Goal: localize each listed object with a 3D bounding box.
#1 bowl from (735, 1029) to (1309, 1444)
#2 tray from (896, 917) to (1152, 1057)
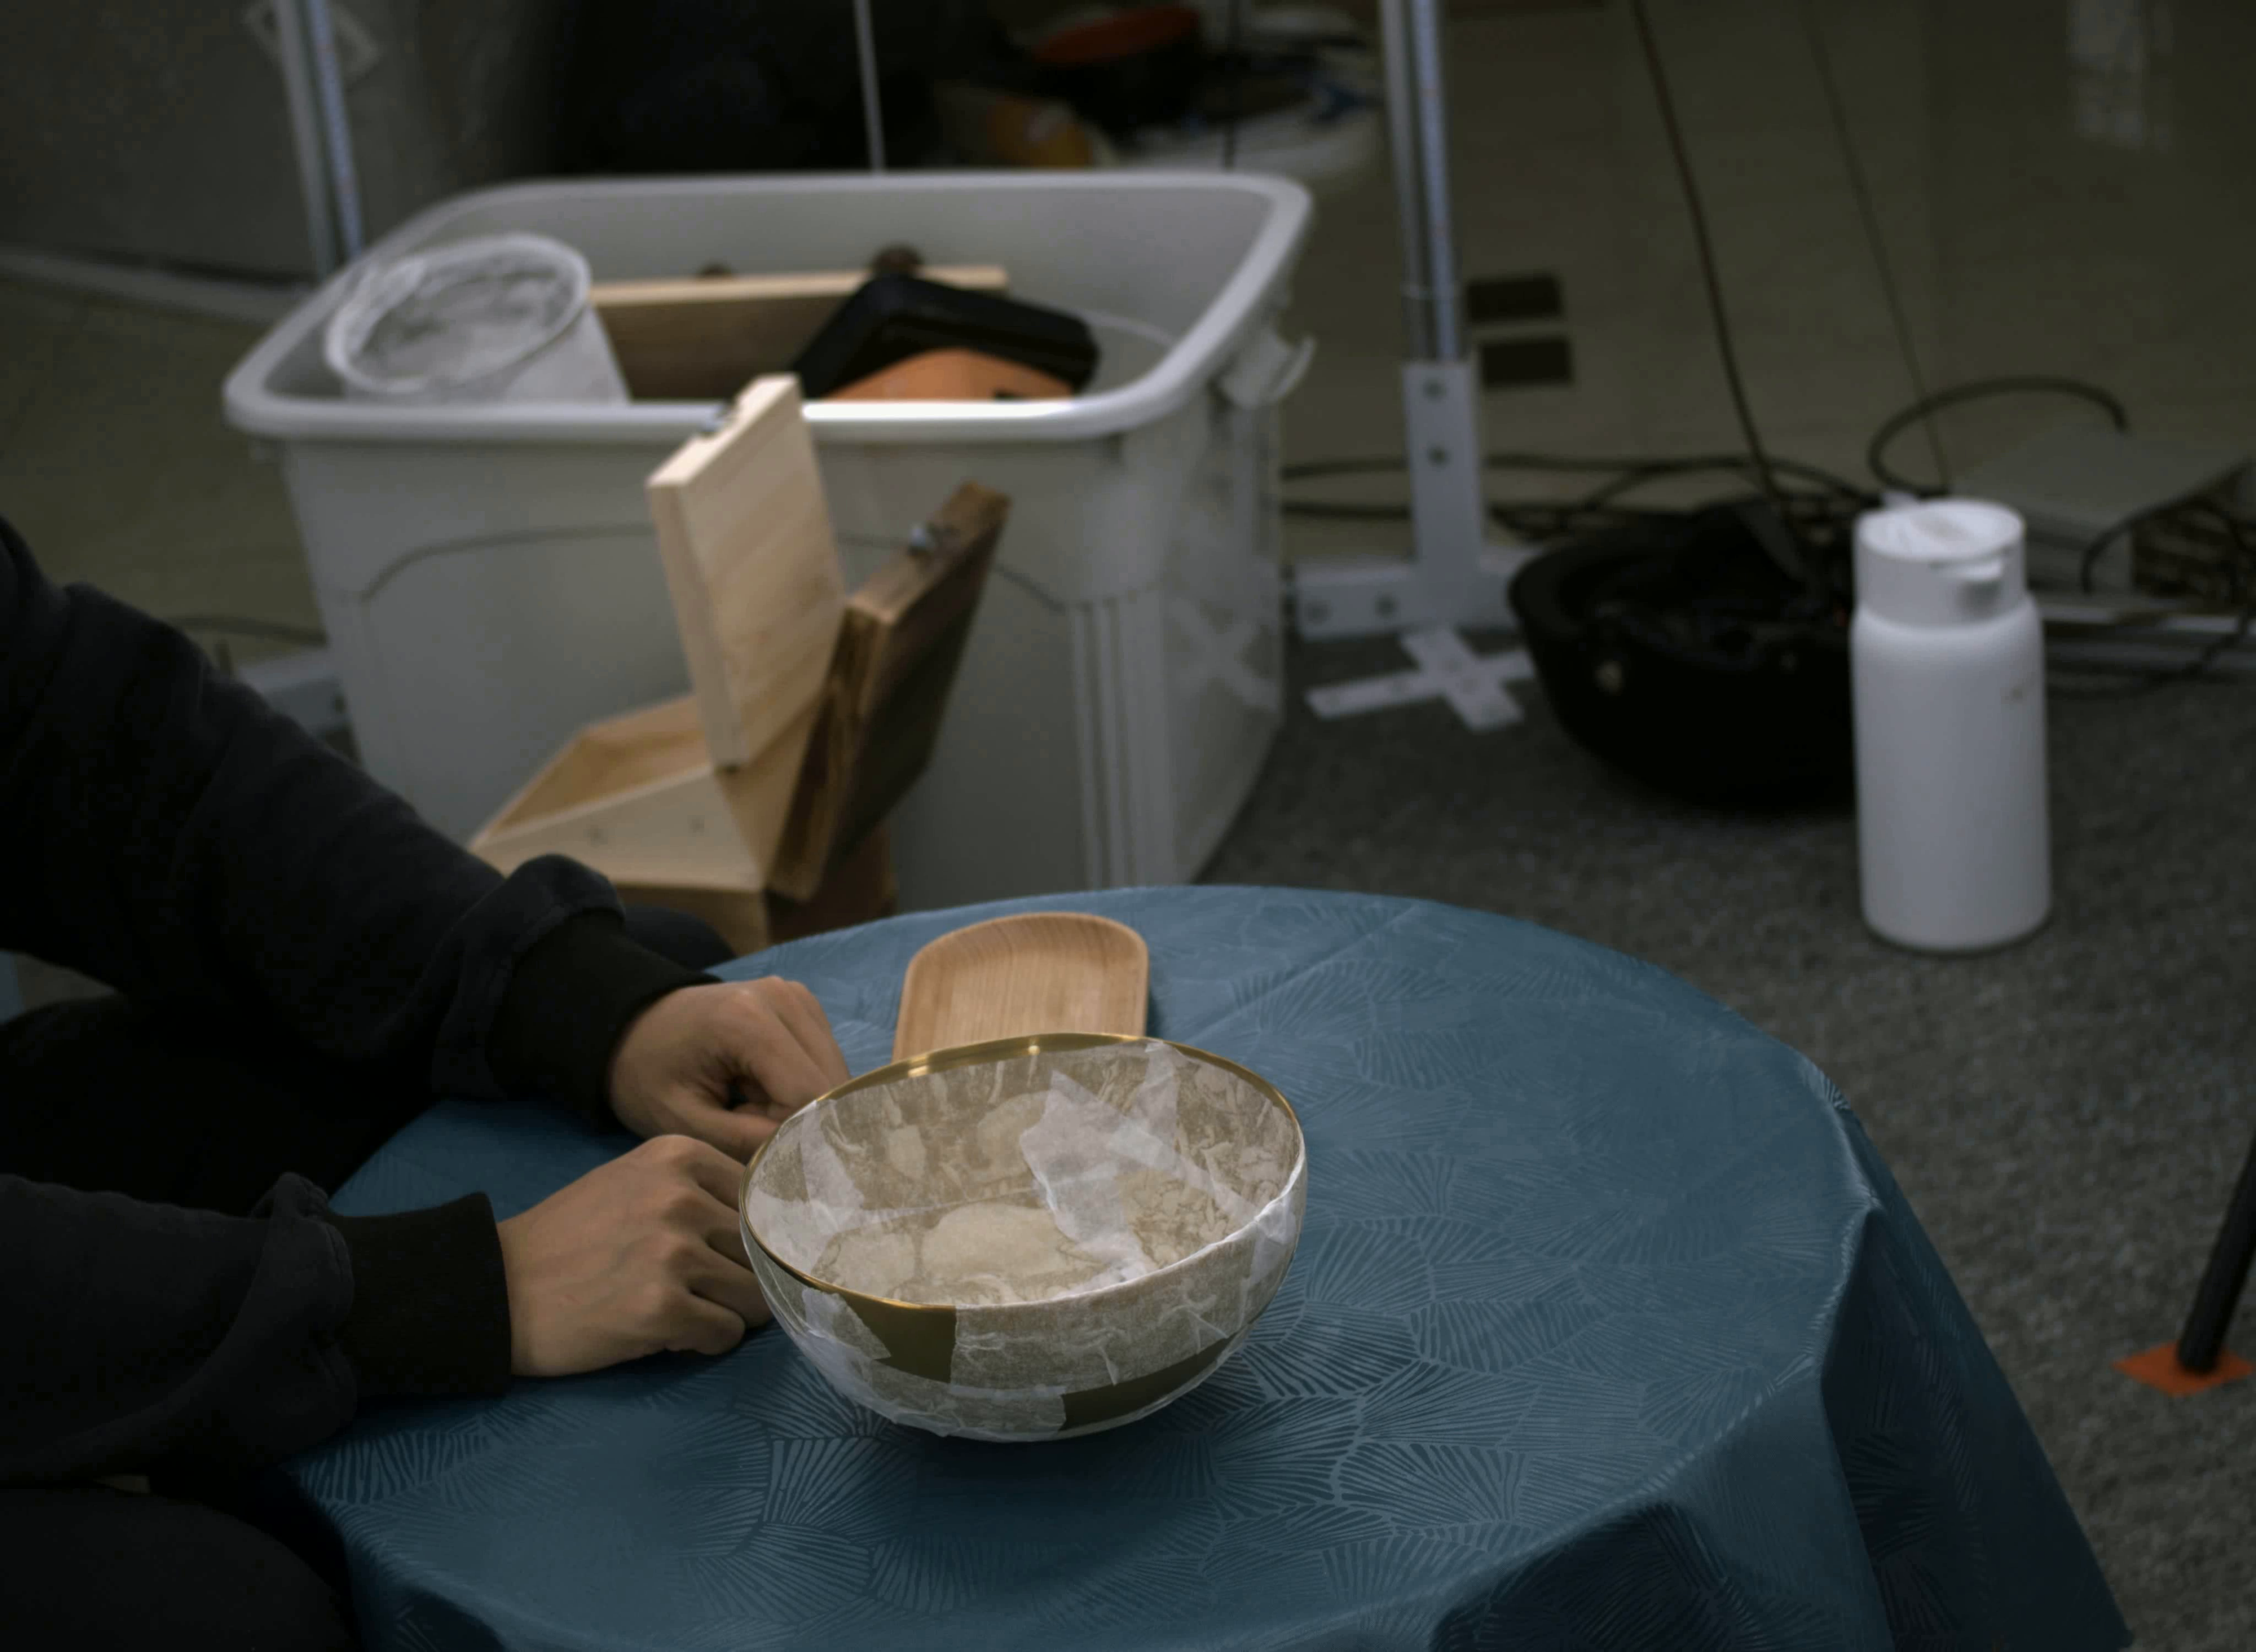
[{"bbox_3d":[-0.034,0.156,2.012,0.214,0.096,0.211,-6,26,3],"label":"bowl"},{"bbox_3d":[-0.041,0.093,2.244,0.101,0.020,0.227,-7,27,4],"label":"tray"}]
